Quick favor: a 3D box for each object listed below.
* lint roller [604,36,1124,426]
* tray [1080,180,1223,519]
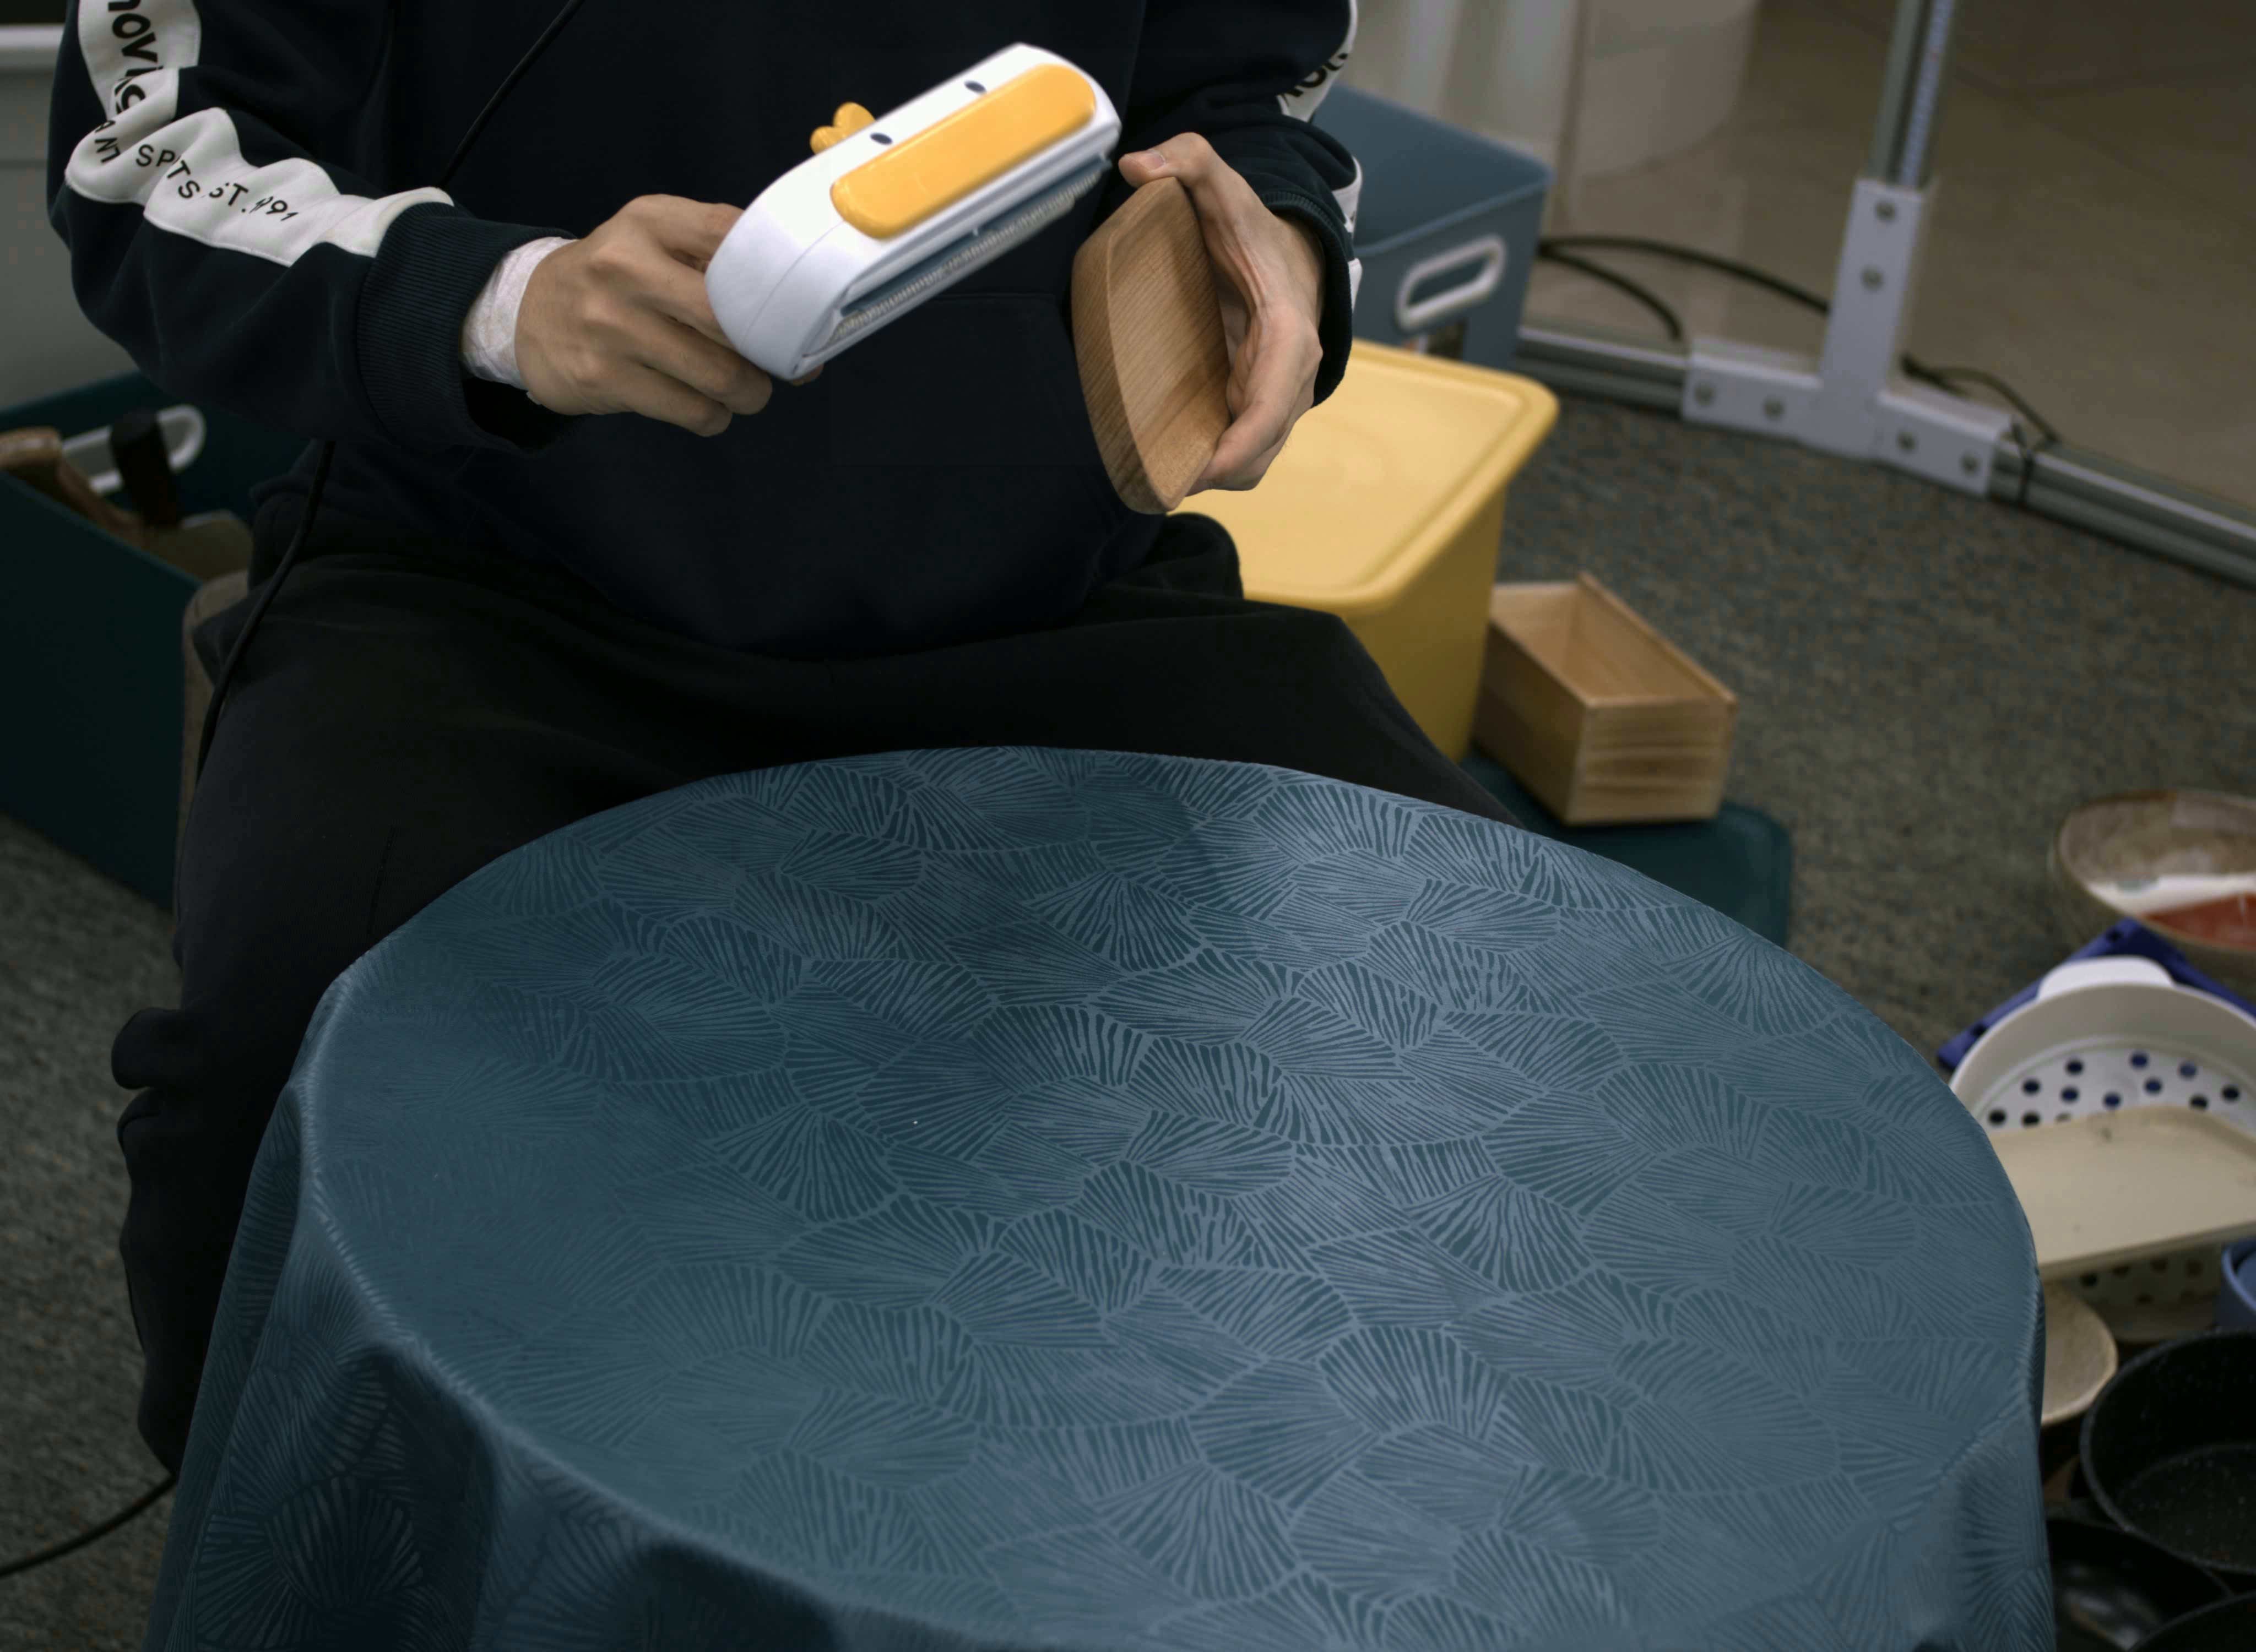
[{"bbox_3d":[-0.108,-0.188,1.844,0.074,0.192,0.193,48,37,-1],"label":"lint roller"},{"bbox_3d":[0.009,-0.173,1.924,0.020,0.101,0.231,-10,13,11],"label":"tray"}]
